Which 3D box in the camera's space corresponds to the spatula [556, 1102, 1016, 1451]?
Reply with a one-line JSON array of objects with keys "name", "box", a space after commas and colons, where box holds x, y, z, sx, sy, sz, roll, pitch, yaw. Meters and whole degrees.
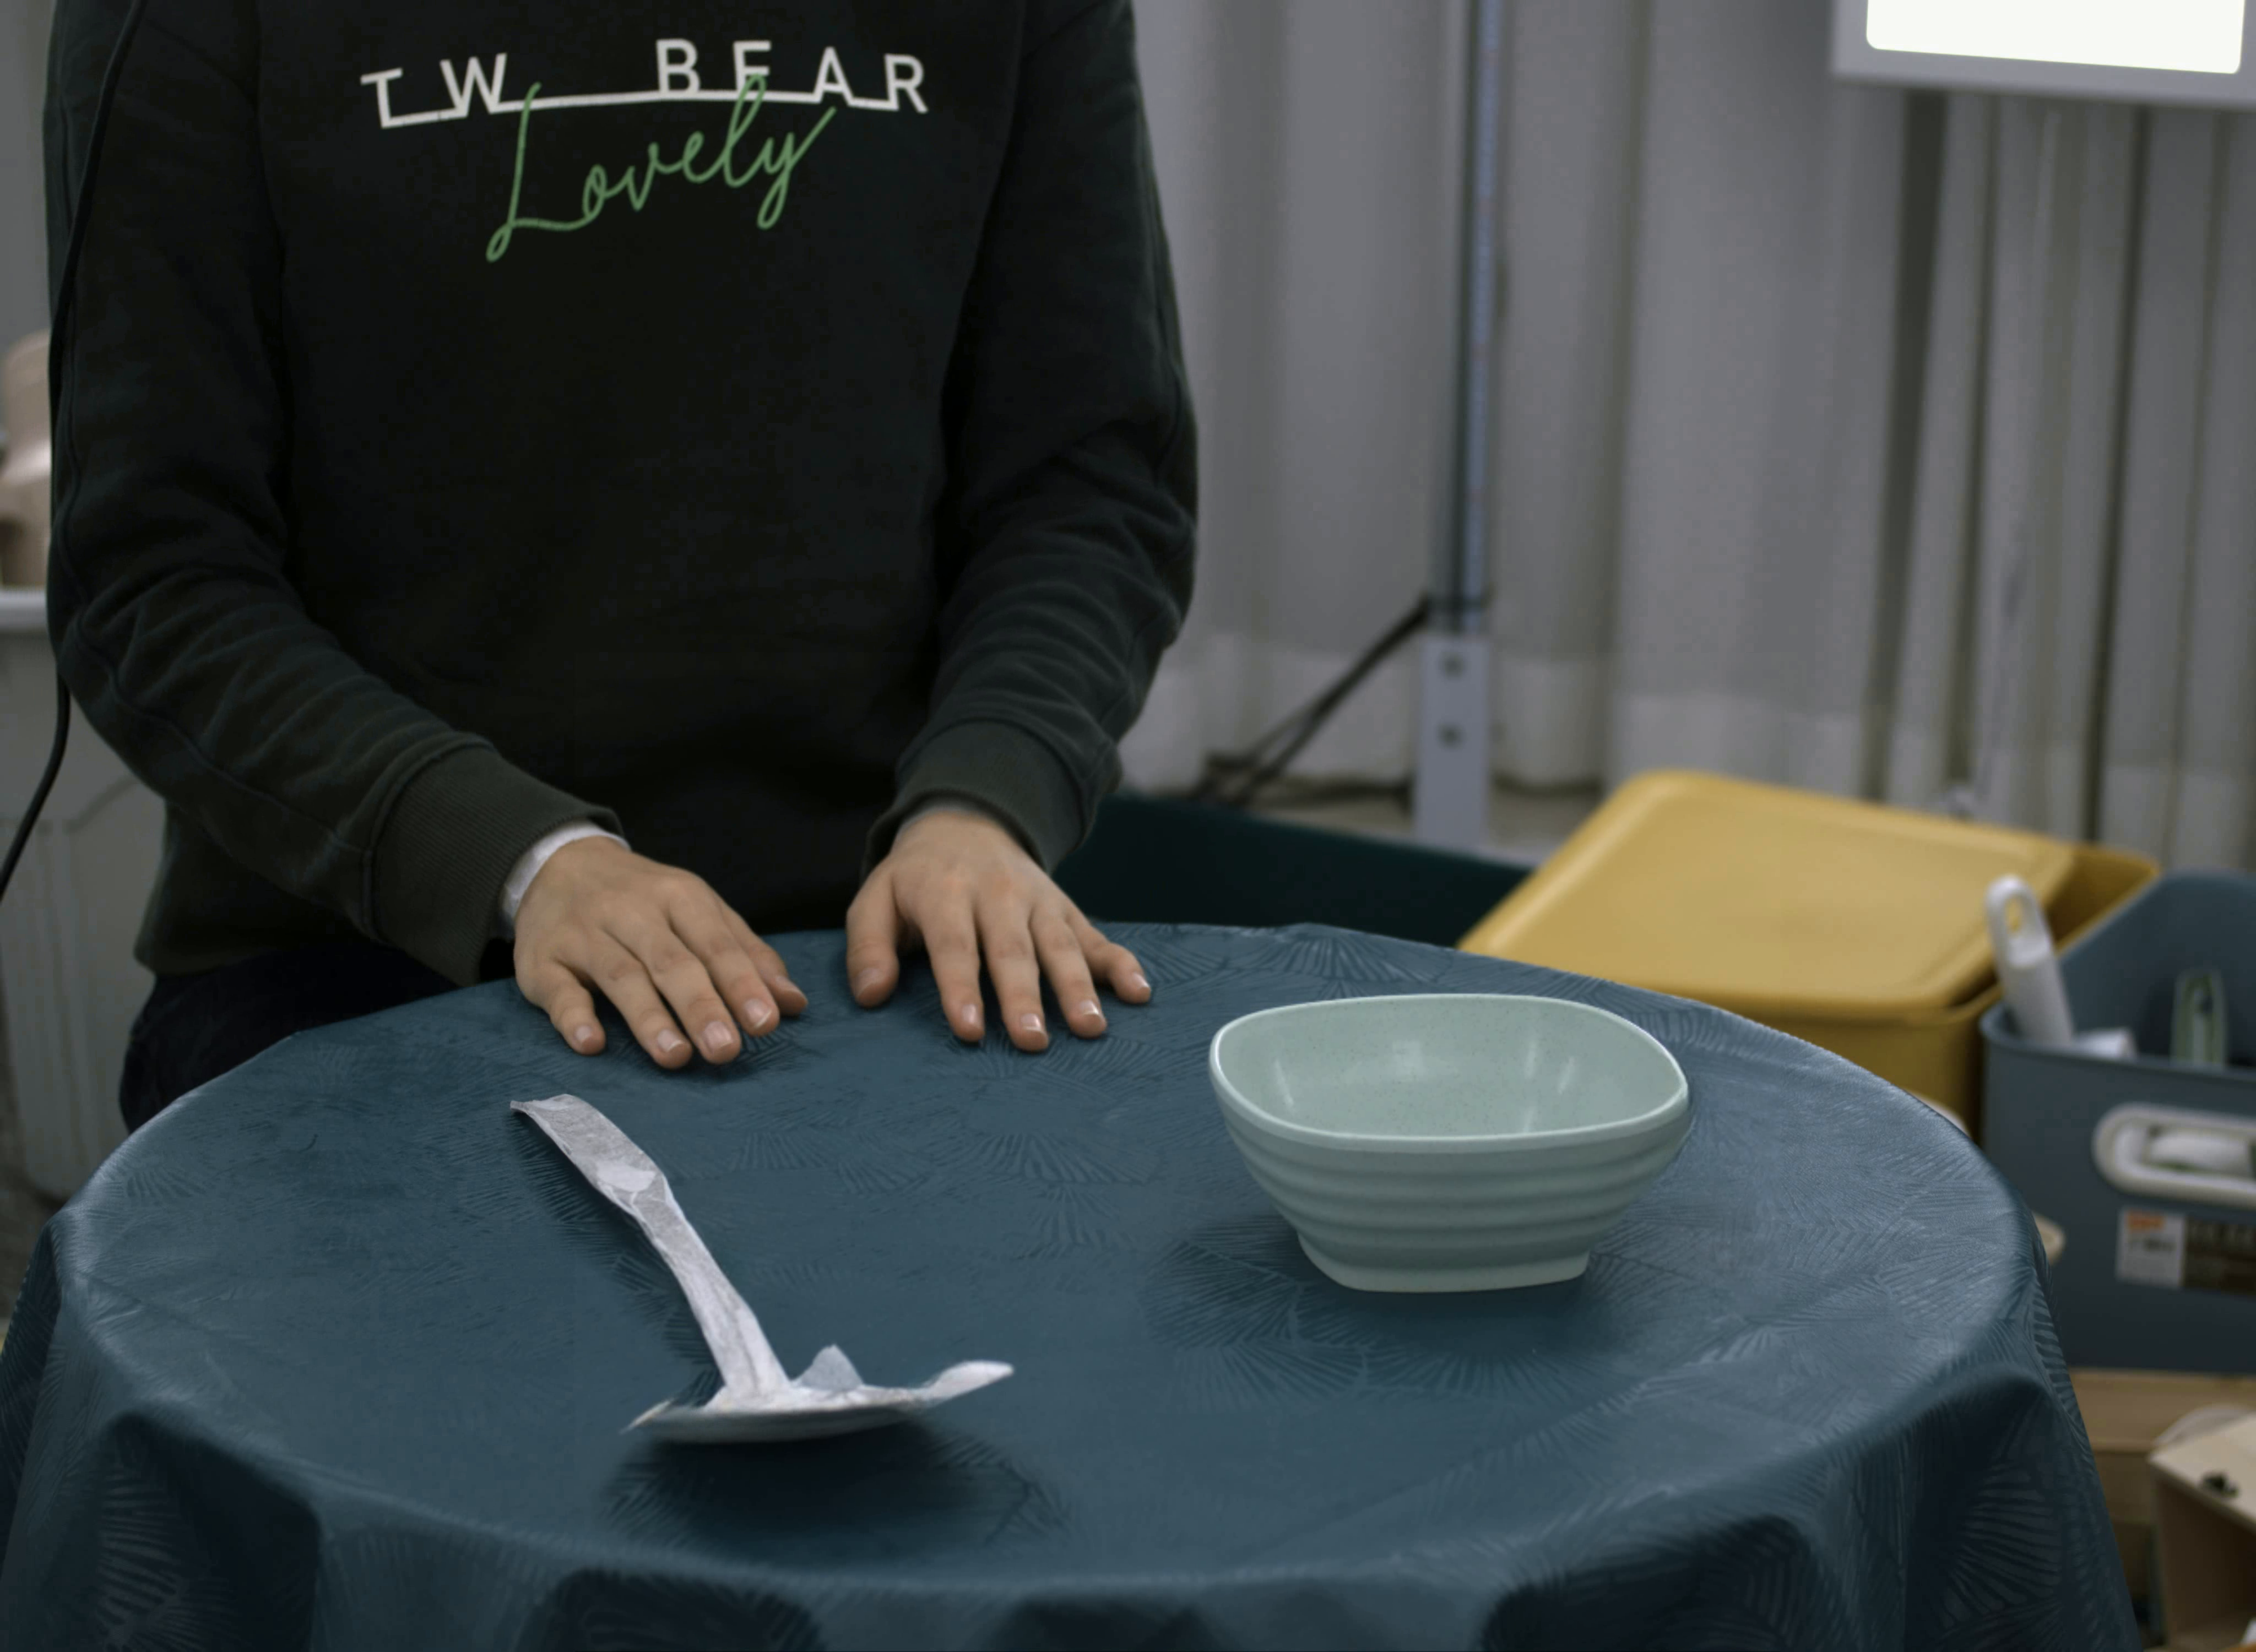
[{"name": "spatula", "box": [-0.124, 0.121, 1.522, 0.099, 0.045, 0.361, -6, 17, -17]}]

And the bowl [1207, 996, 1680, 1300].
[{"name": "bowl", "box": [0.092, 0.100, 1.576, 0.151, 0.059, 0.150, 3, 16, 0]}]
